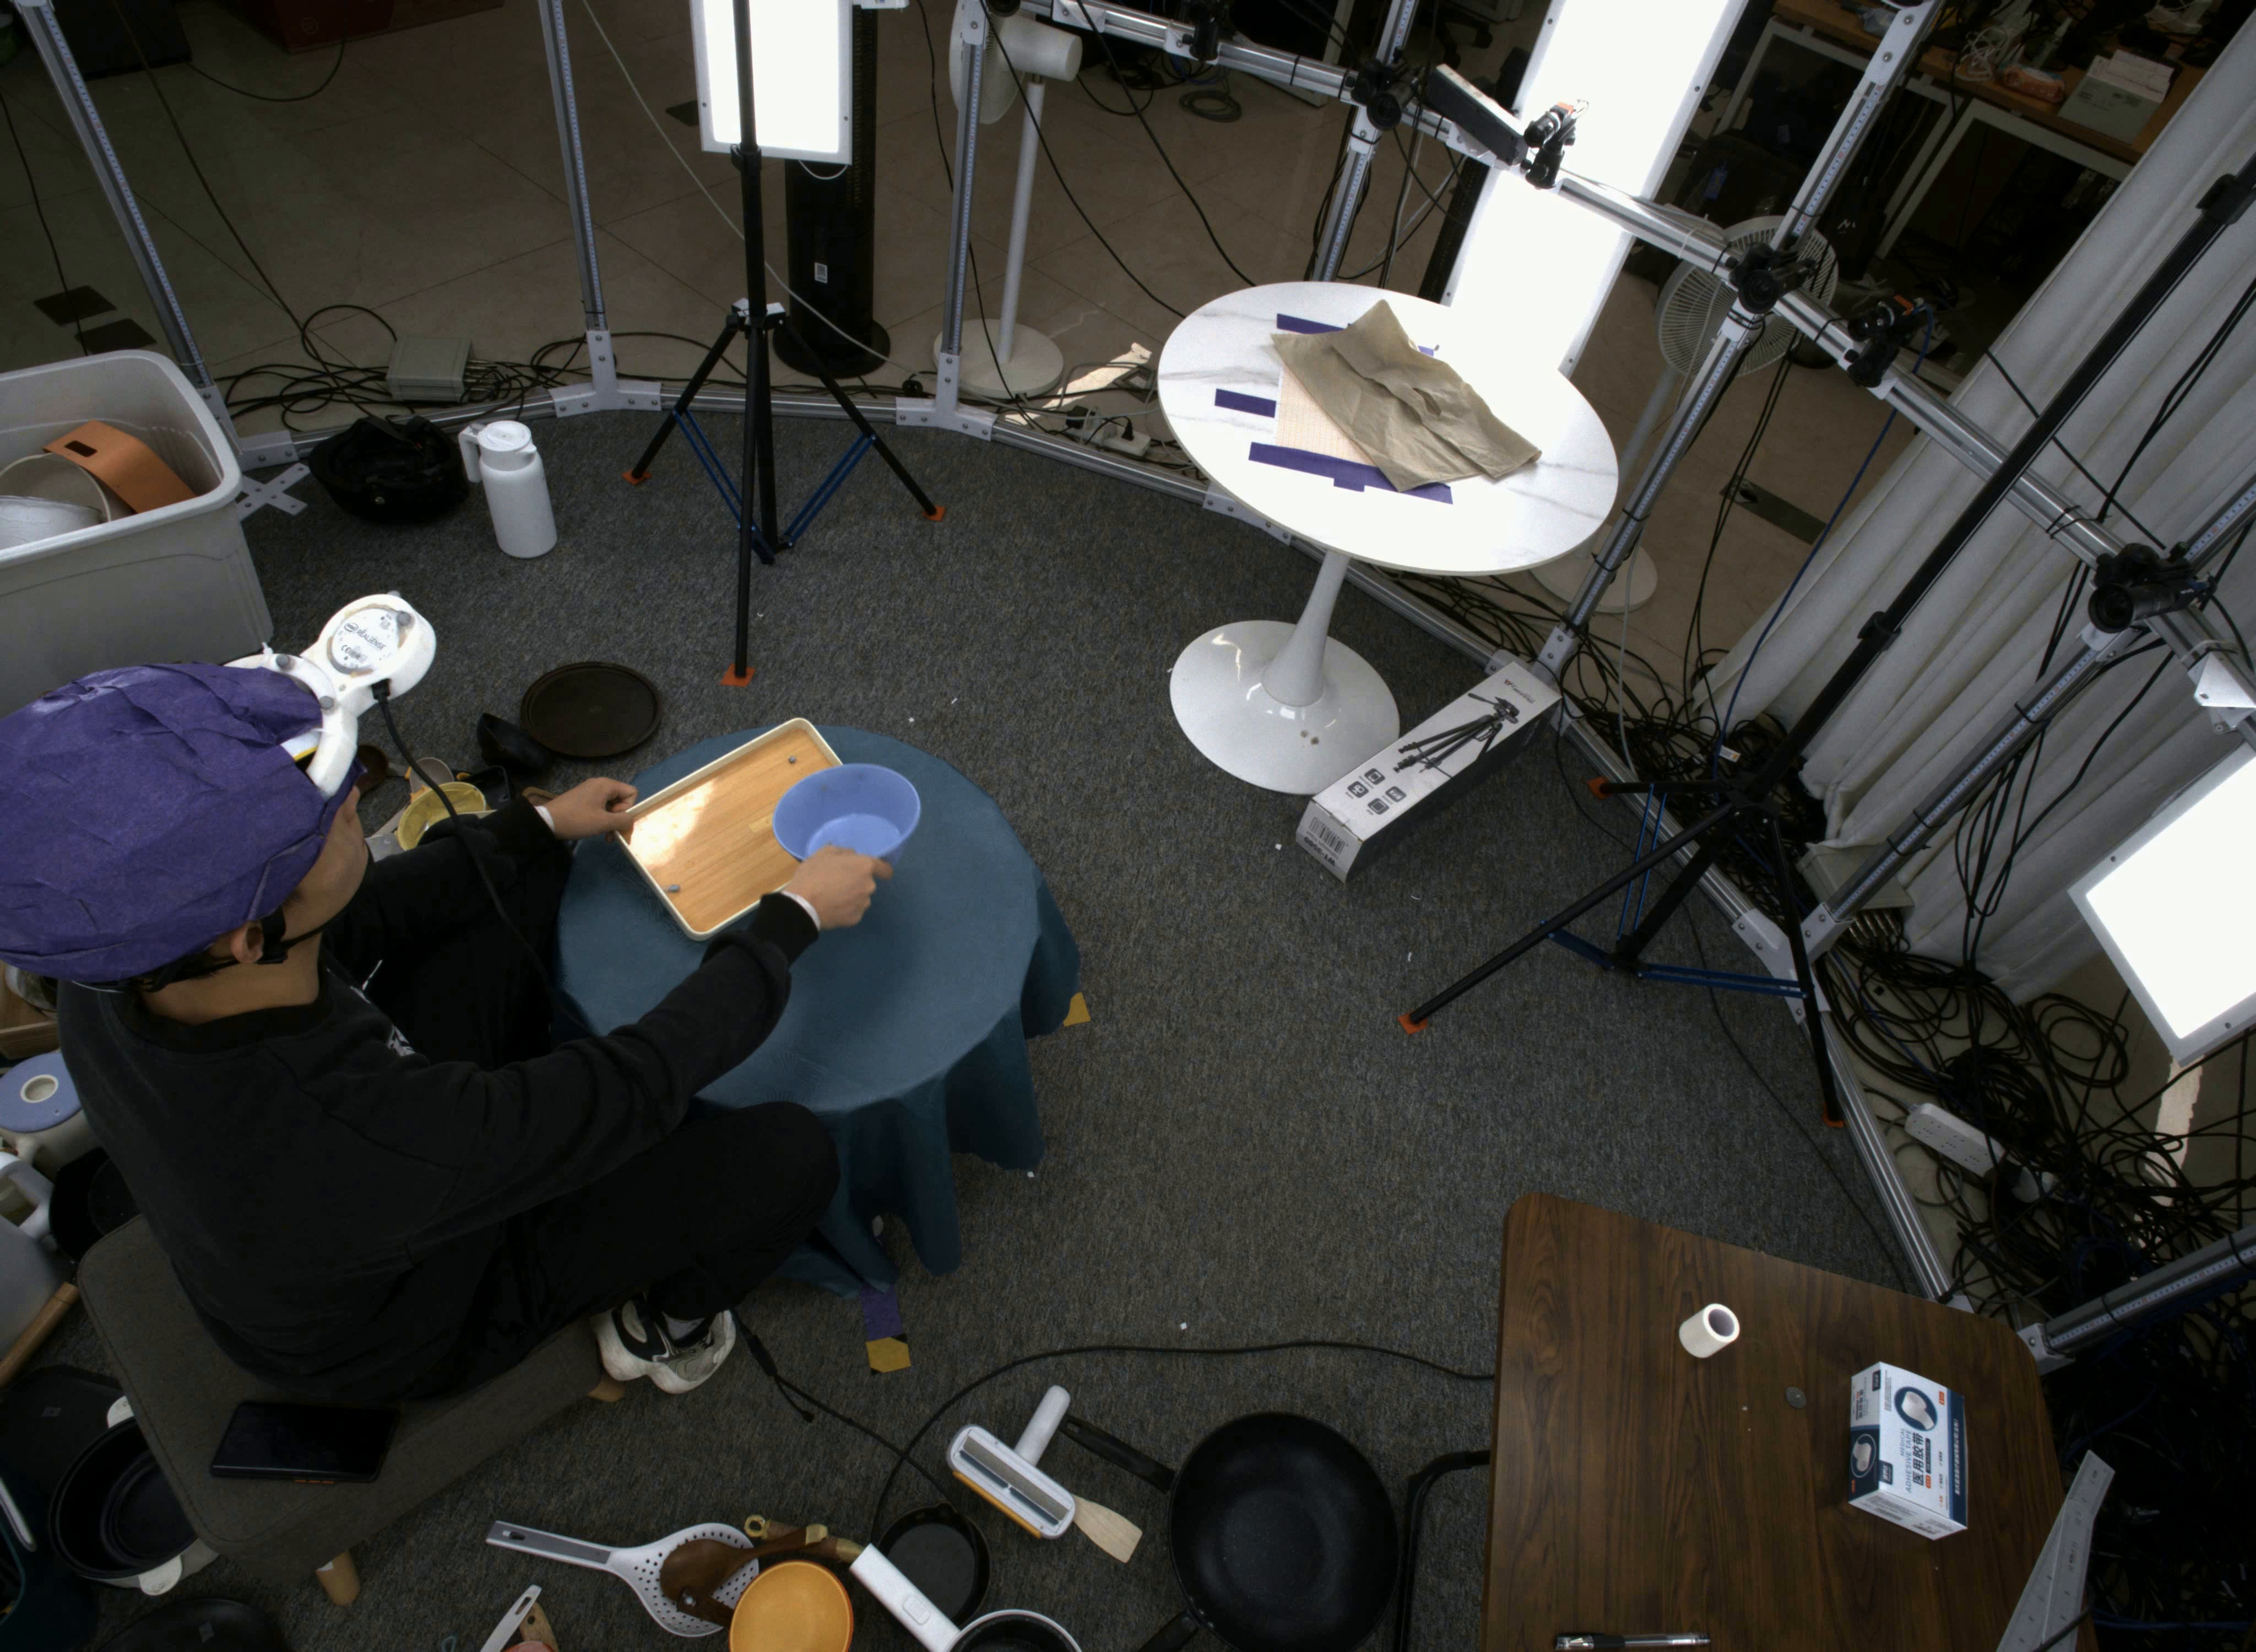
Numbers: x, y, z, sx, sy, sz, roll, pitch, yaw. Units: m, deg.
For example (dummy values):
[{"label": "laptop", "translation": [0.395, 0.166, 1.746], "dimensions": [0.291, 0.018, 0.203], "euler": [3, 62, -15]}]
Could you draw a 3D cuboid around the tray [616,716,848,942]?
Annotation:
[{"label": "tray", "translation": [-0.485, -0.003, 1.666], "dimensions": [0.301, 0.027, 0.191], "euler": [-36, 86, -34]}]

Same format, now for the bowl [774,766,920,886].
[{"label": "bowl", "translation": [-0.338, 0.008, 1.579], "dimensions": [0.174, 0.072, 0.172], "euler": [3, 44, -1]}]
